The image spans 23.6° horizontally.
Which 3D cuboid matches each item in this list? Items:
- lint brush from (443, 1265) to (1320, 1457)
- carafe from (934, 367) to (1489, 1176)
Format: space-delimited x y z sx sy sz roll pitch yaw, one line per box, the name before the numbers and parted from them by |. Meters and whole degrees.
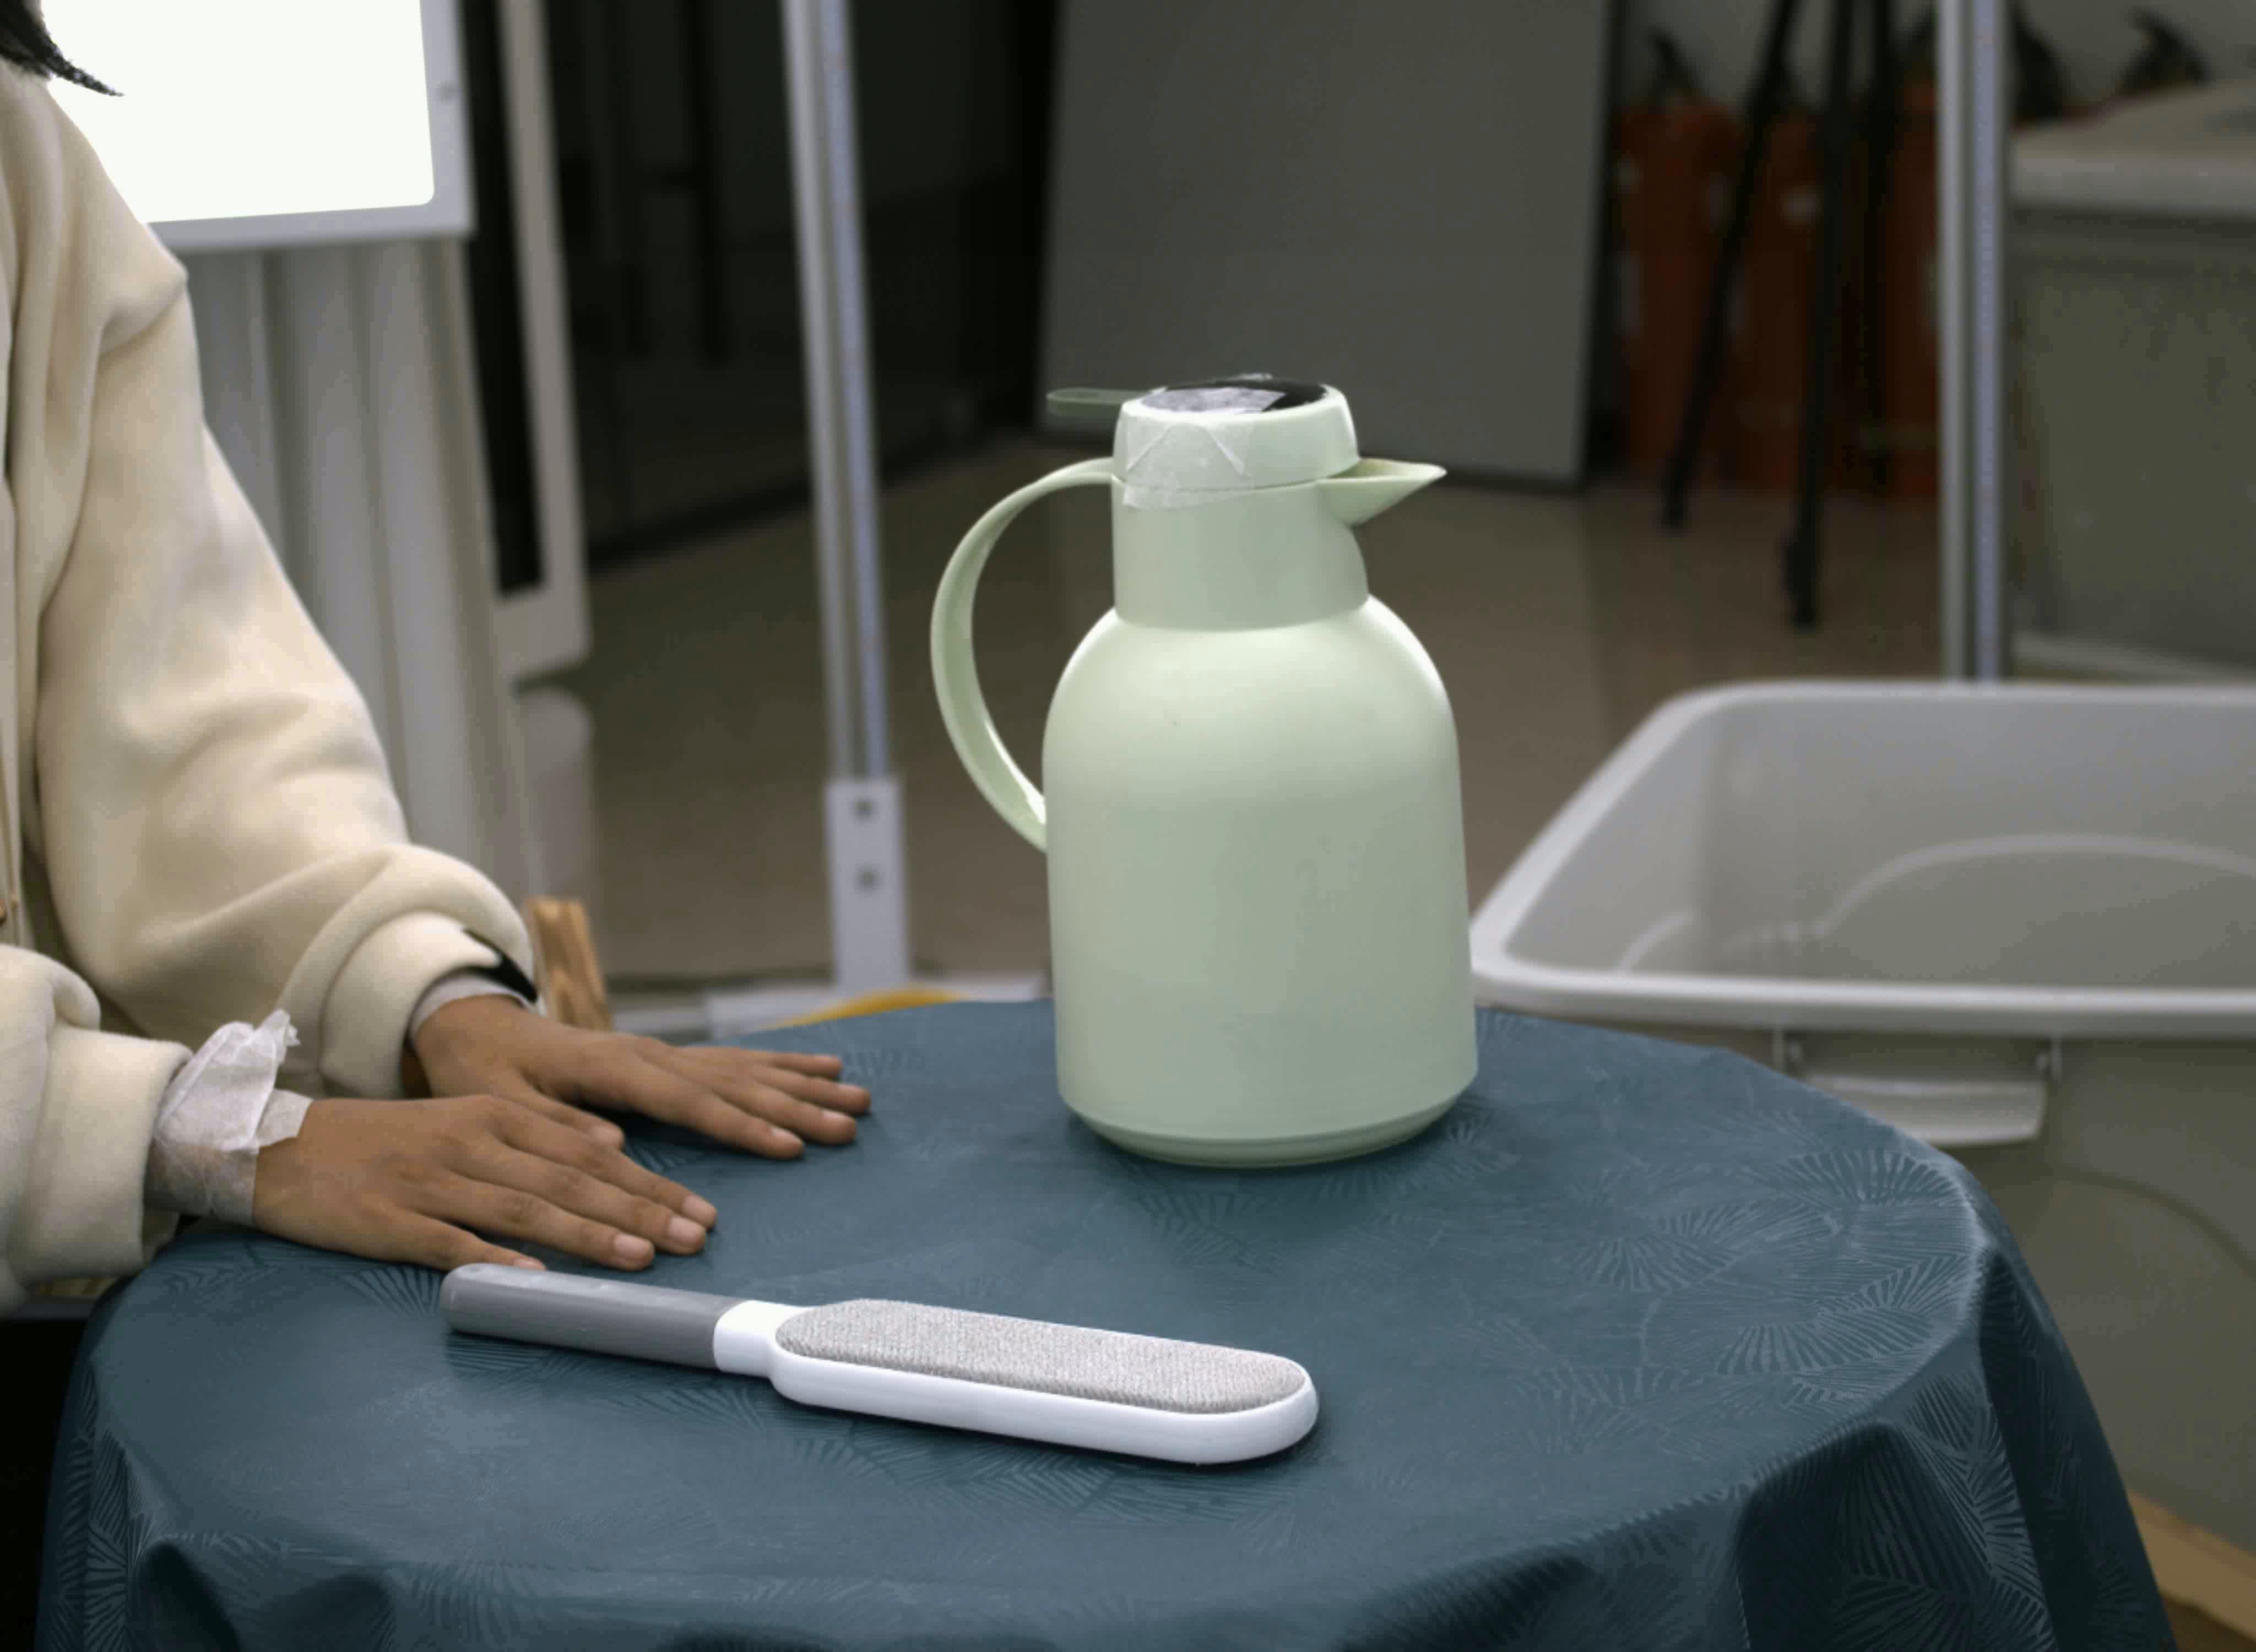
lint brush | -0.080 0.156 1.604 0.310 0.021 0.059 4 18 33
carafe | 0.029 -0.022 1.819 0.187 0.259 0.142 -2 14 24
